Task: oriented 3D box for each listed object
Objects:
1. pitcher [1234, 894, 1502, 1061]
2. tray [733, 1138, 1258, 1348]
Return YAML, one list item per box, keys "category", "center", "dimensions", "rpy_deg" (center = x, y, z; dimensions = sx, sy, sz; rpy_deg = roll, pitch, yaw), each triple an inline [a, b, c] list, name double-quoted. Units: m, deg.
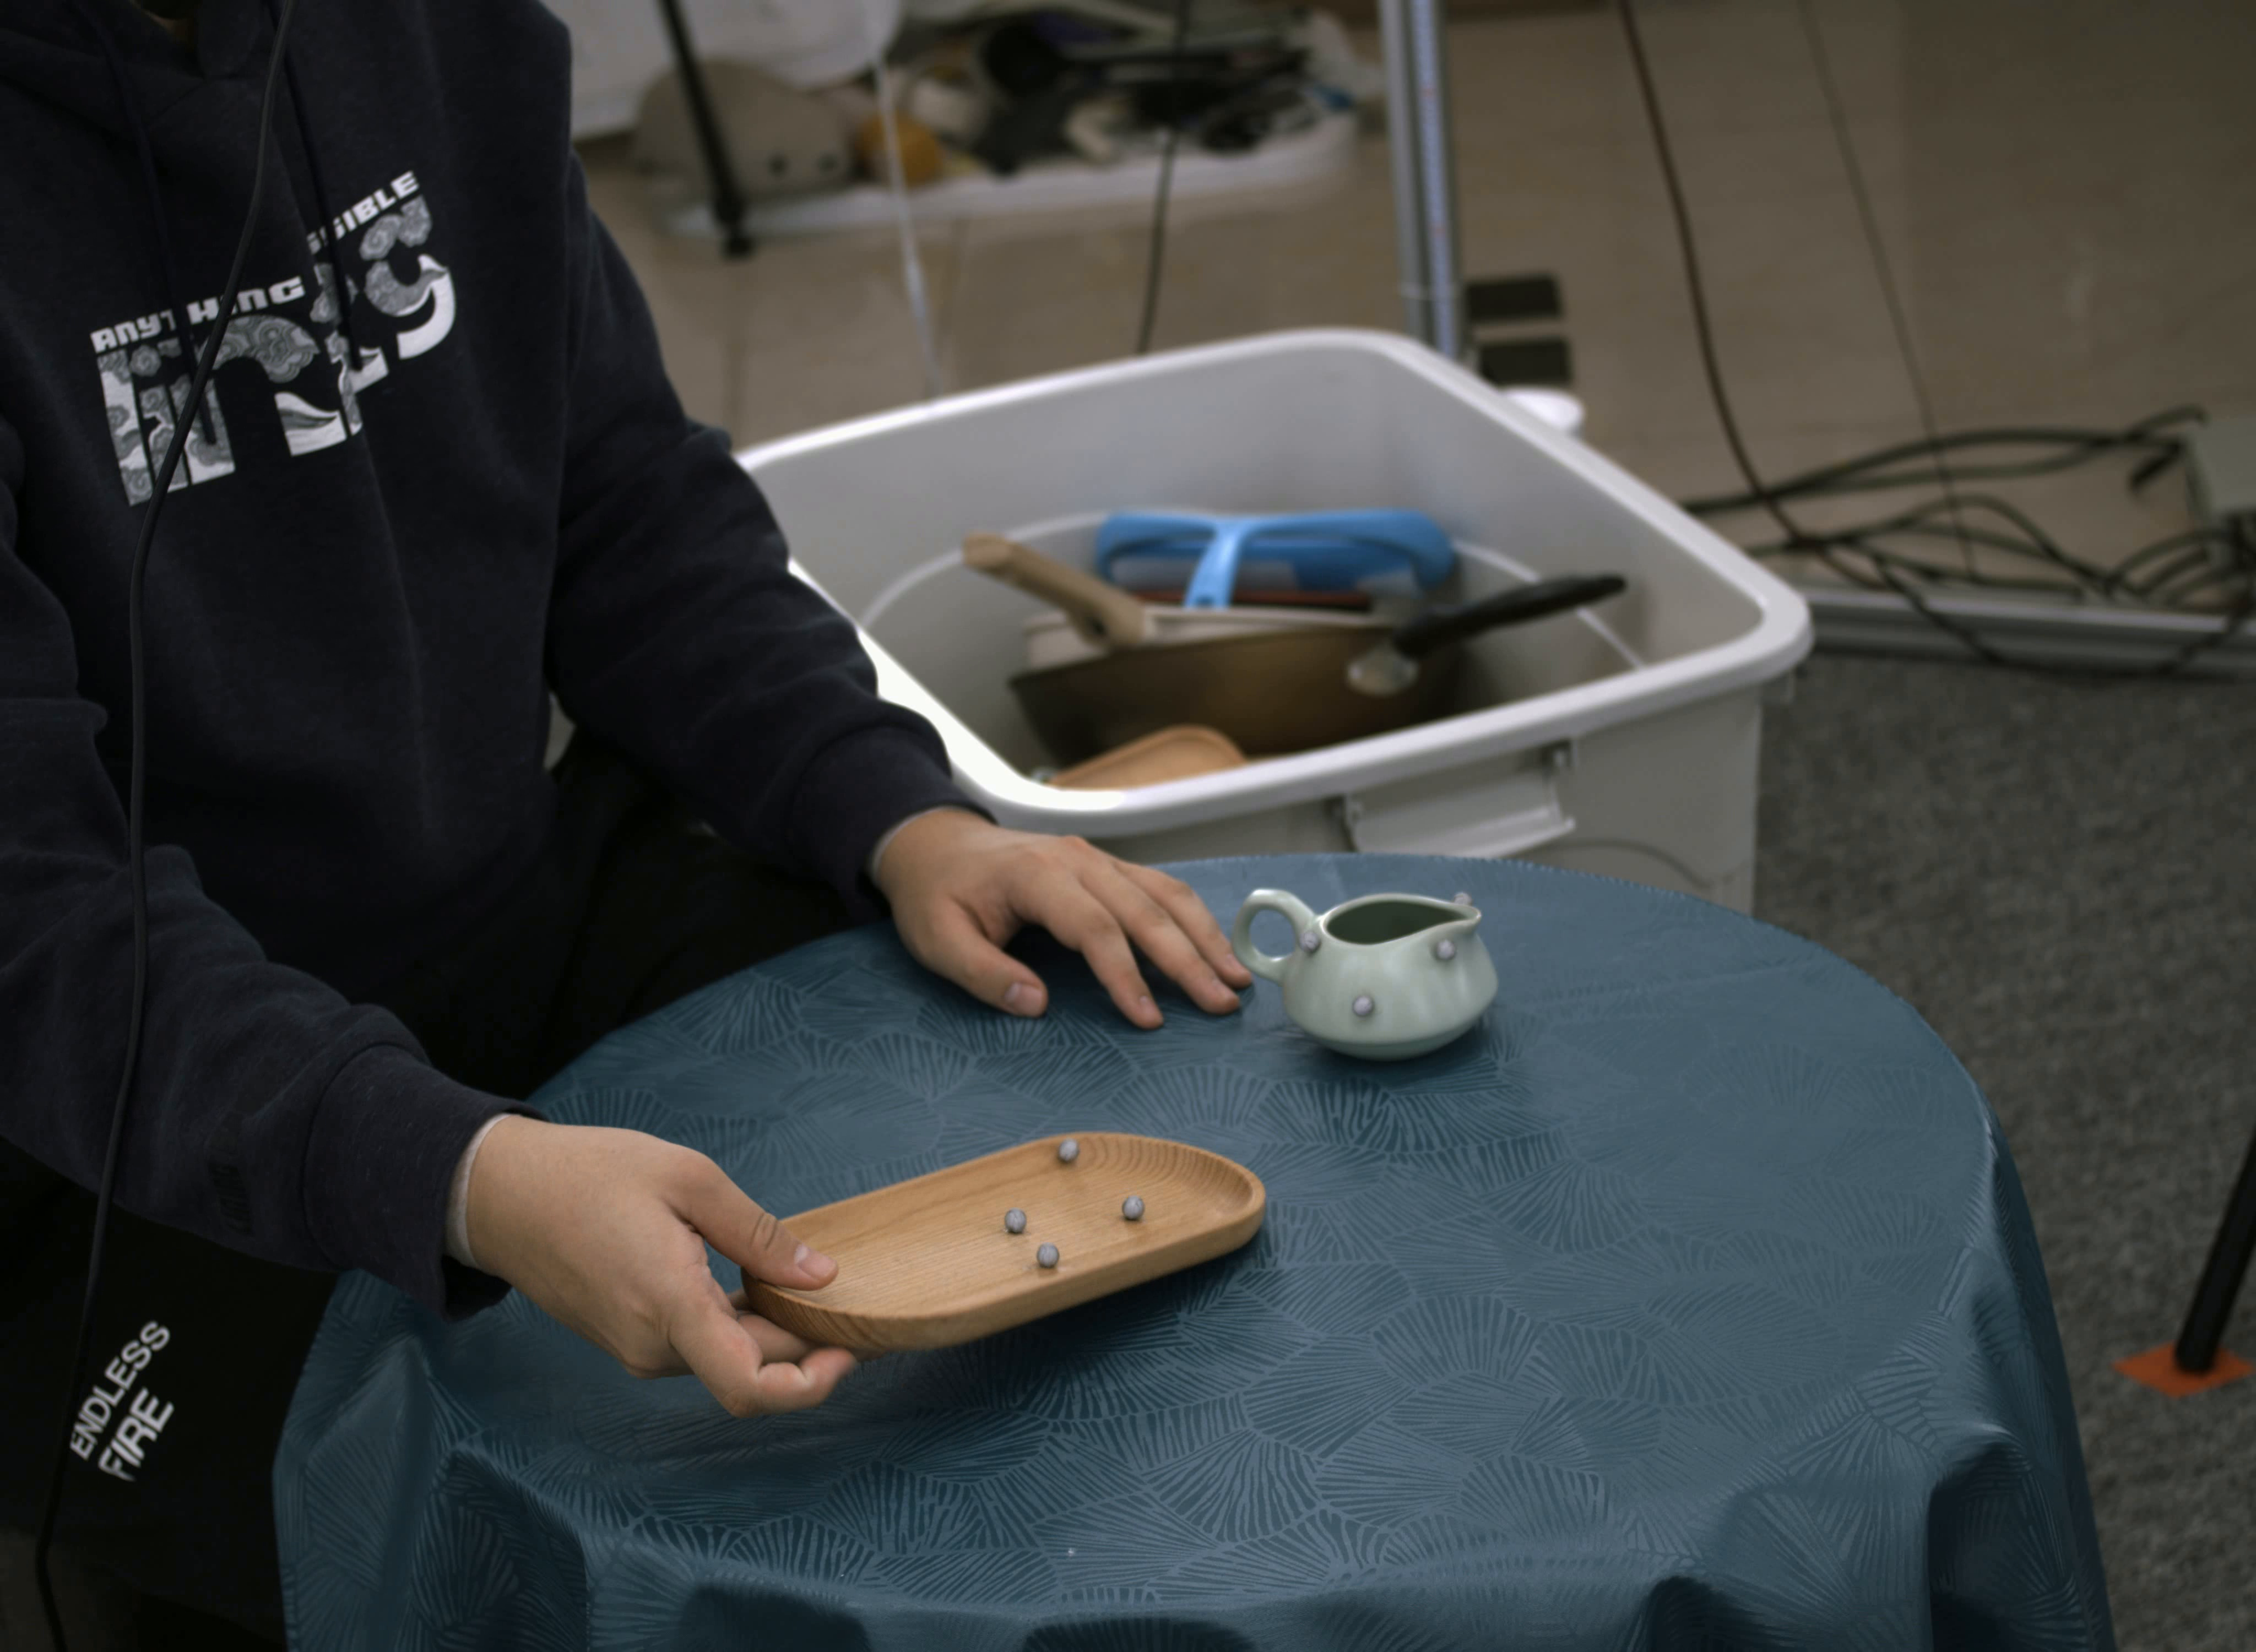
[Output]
- category: "pitcher"
  center: [0.093, 0.057, 2.238]
  dimensions: [0.108, 0.061, 0.085]
  rpy_deg: [2, 25, 22]
- category: "tray"
  center: [-0.046, 0.150, 2.058]
  dimensions: [0.101, 0.020, 0.230]
  rpy_deg: [14, 21, 40]
